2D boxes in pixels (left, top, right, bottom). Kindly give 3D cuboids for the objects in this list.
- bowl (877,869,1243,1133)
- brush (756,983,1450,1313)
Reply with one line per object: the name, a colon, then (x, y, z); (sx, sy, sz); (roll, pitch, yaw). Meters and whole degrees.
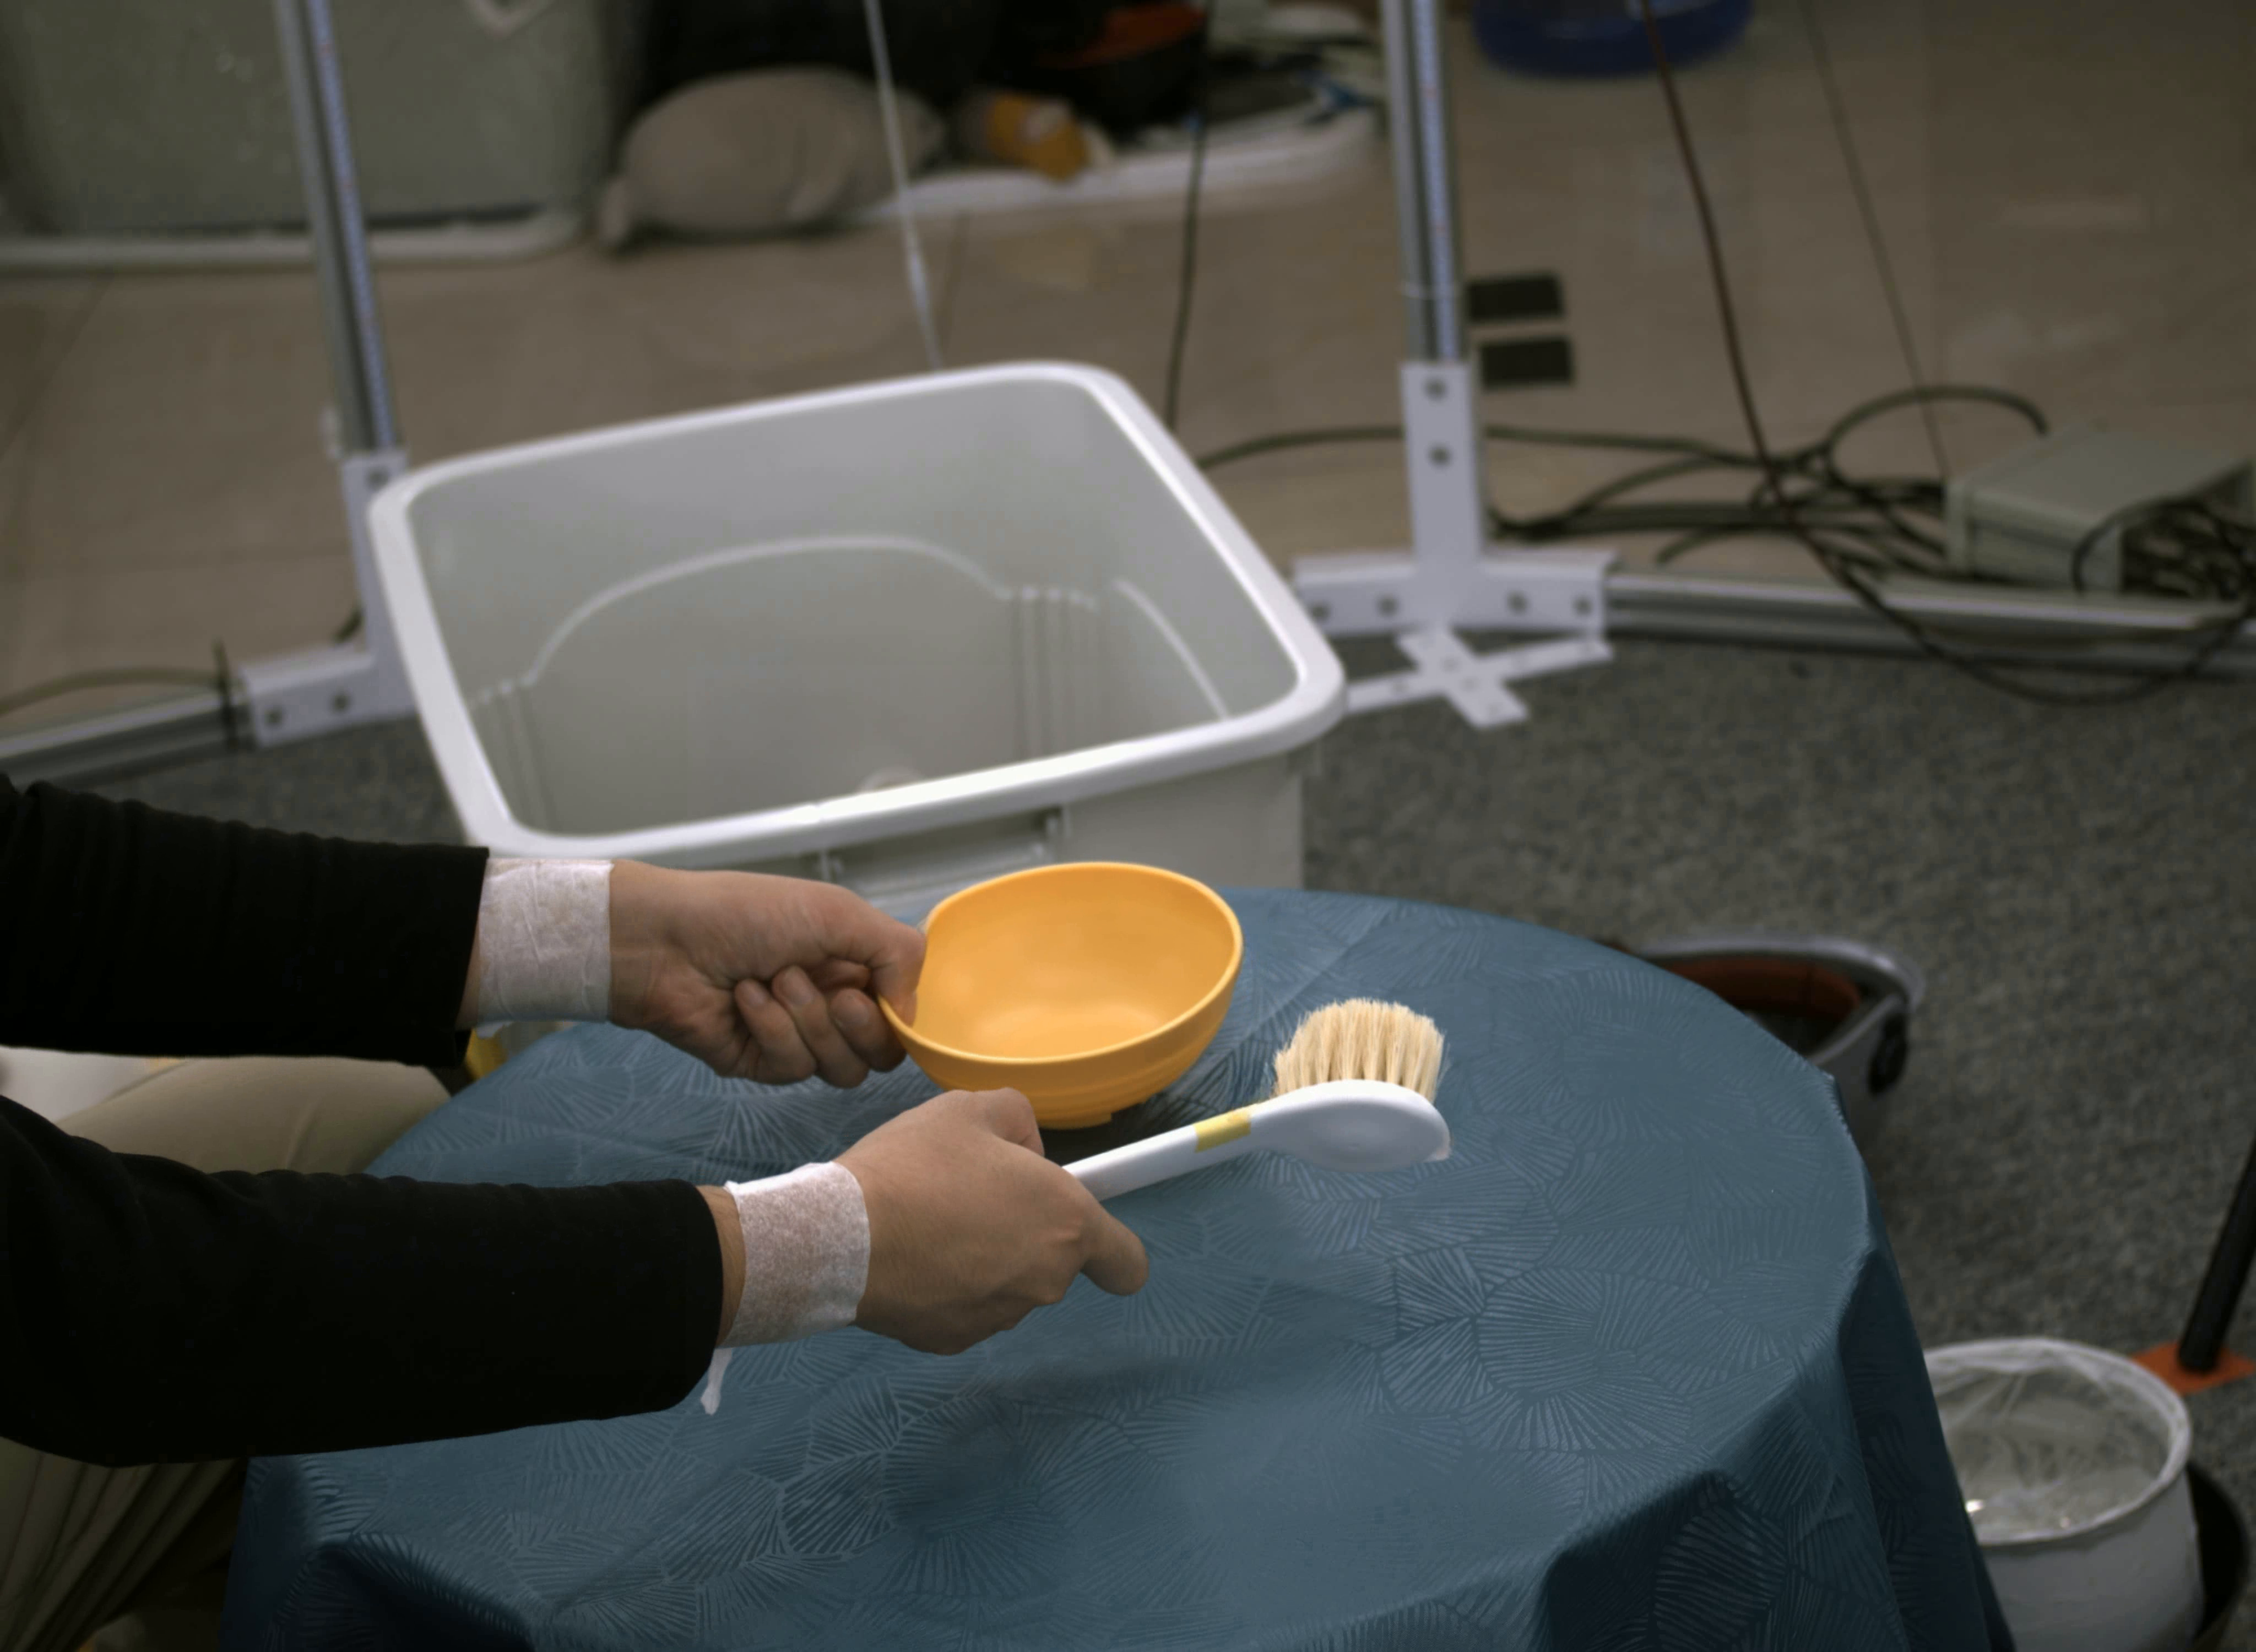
bowl: (-0.022, 0.077, 2.209); (0.145, 0.061, 0.143); (-7, 30, 4)
brush: (-0.011, 0.113, 2.008); (0.265, 0.070, 0.055); (-14, 59, -14)
